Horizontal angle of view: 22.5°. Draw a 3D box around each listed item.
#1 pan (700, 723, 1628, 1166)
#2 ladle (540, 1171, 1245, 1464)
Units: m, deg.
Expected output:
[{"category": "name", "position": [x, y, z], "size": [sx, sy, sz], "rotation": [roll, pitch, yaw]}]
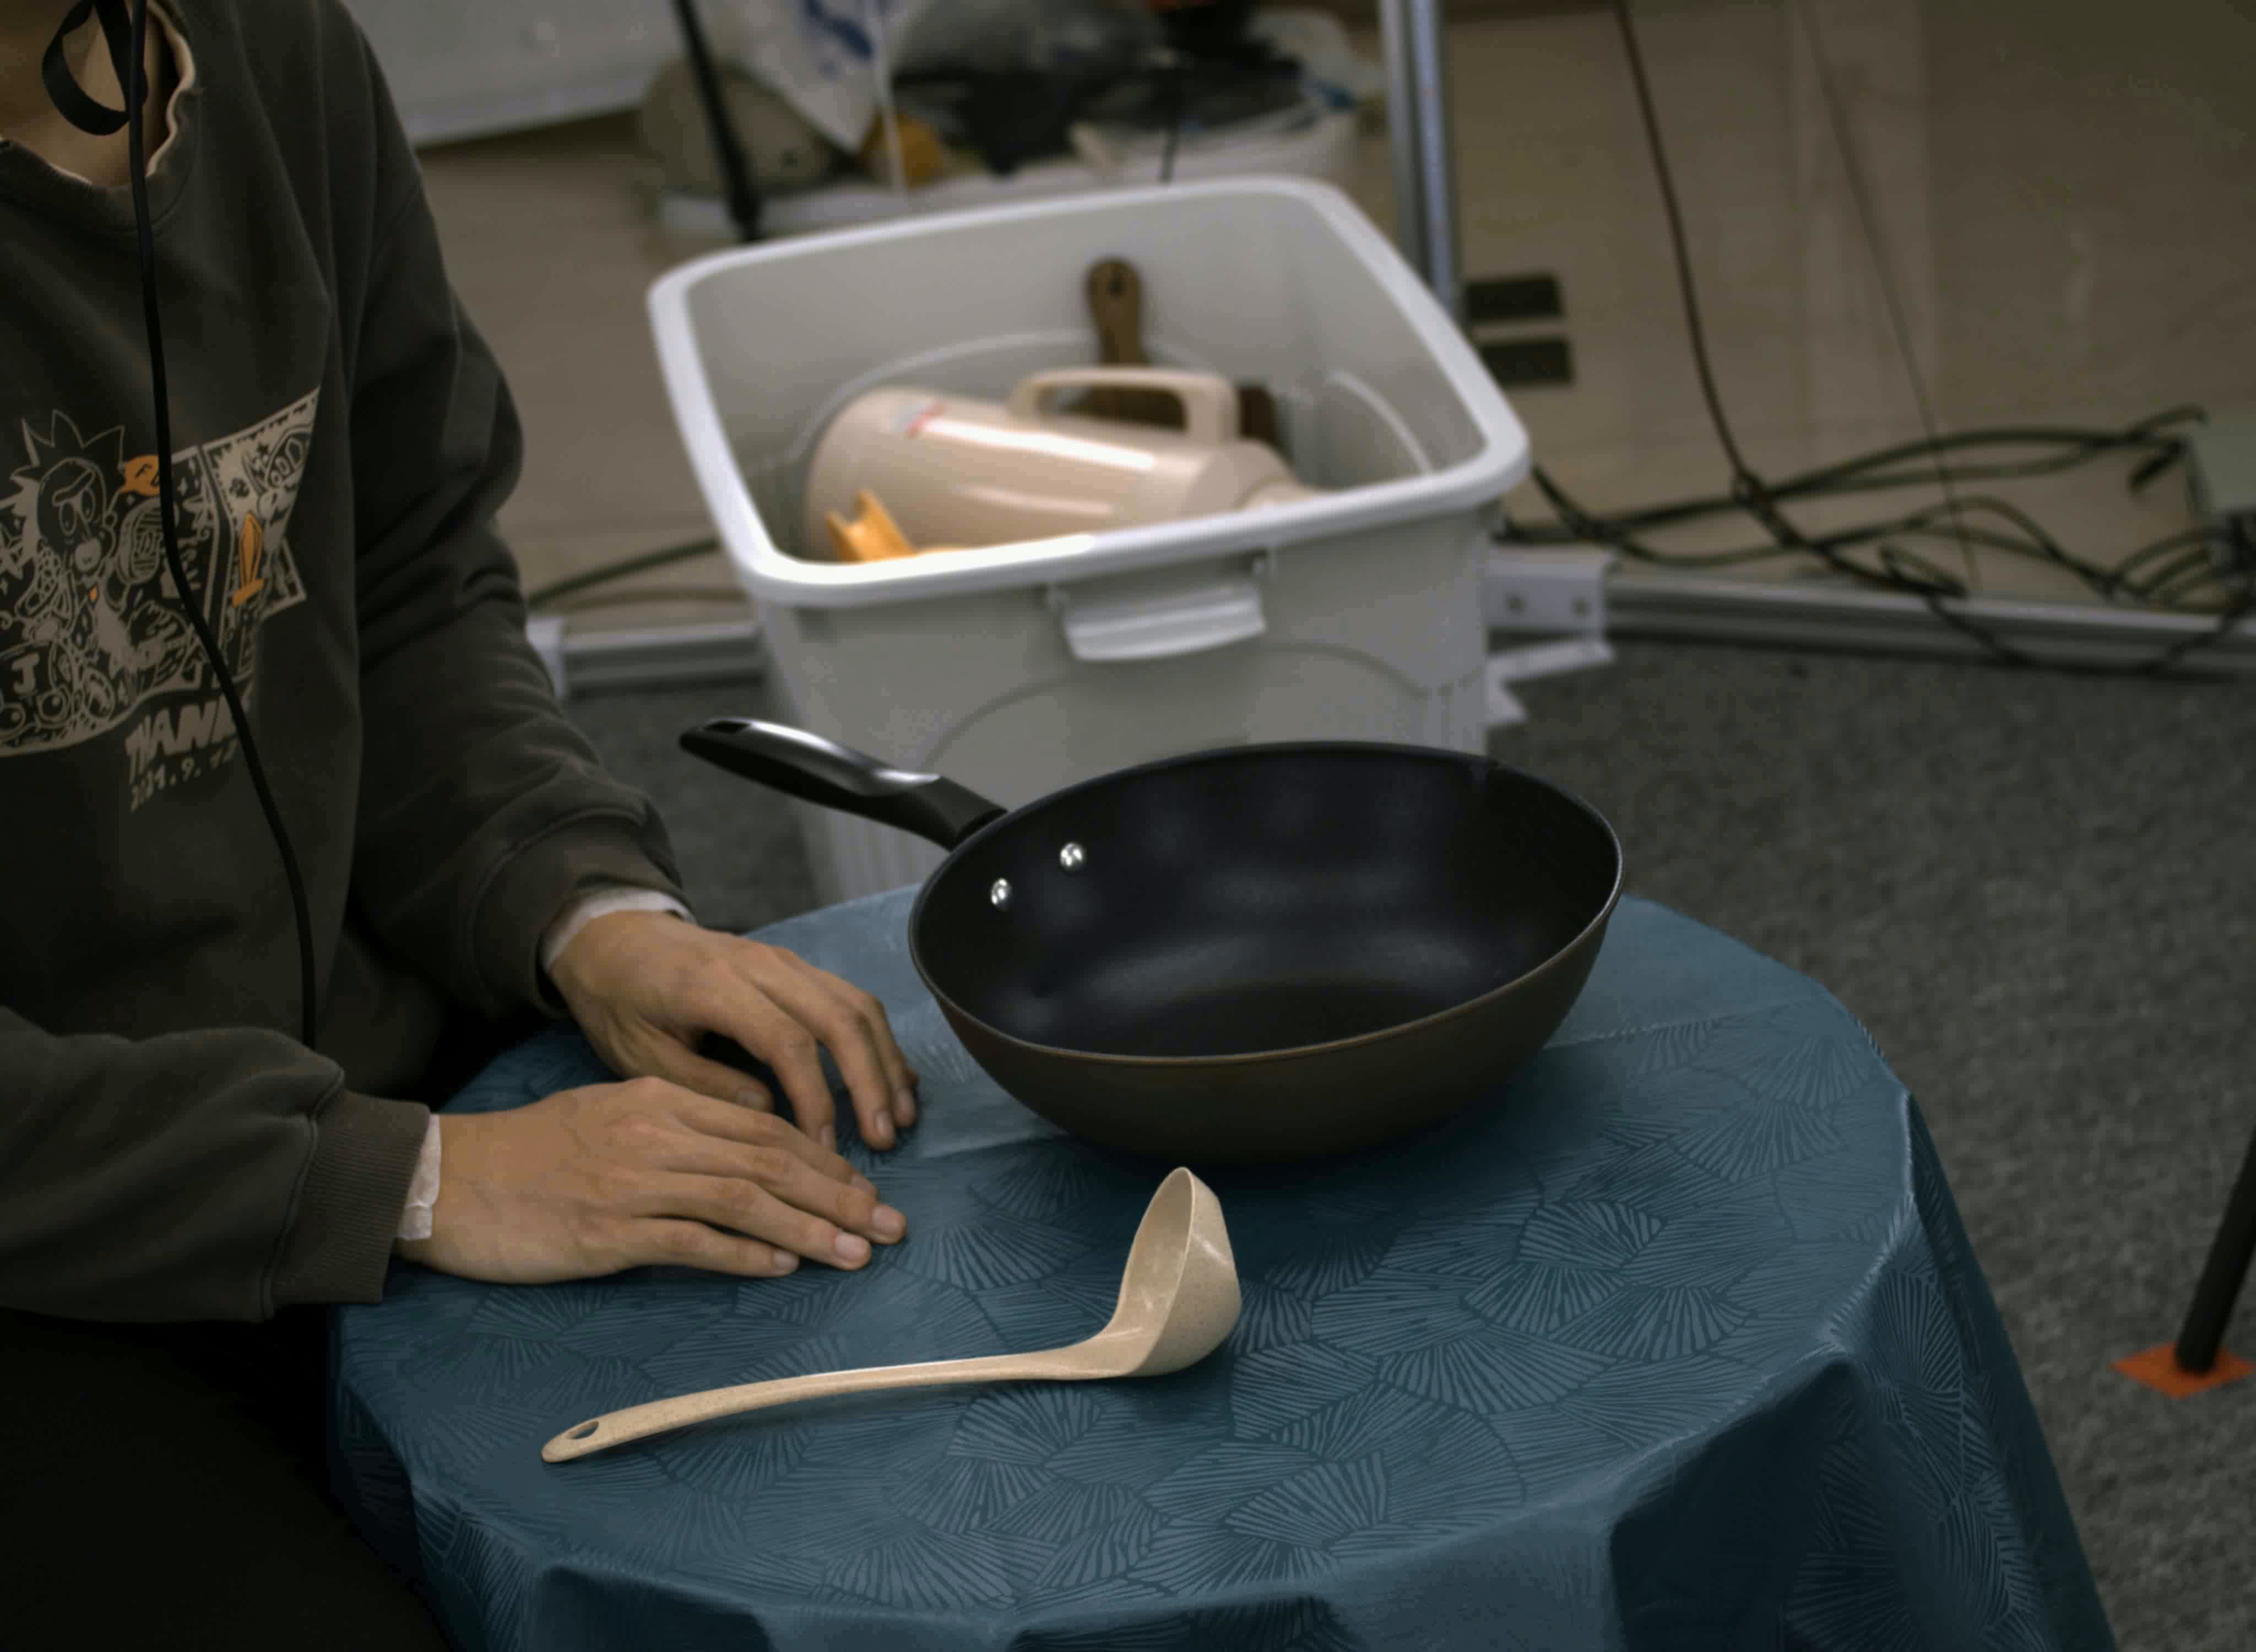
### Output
[{"category": "pan", "position": [-0.010, 0.041, 2.260], "size": [0.460, 0.088, 0.285], "rotation": [15, 33, 41]}, {"category": "ladle", "position": [-0.086, 0.173, 2.006], "size": [0.254, 0.074, 0.071], "rotation": [-8, 28, -6]}]
